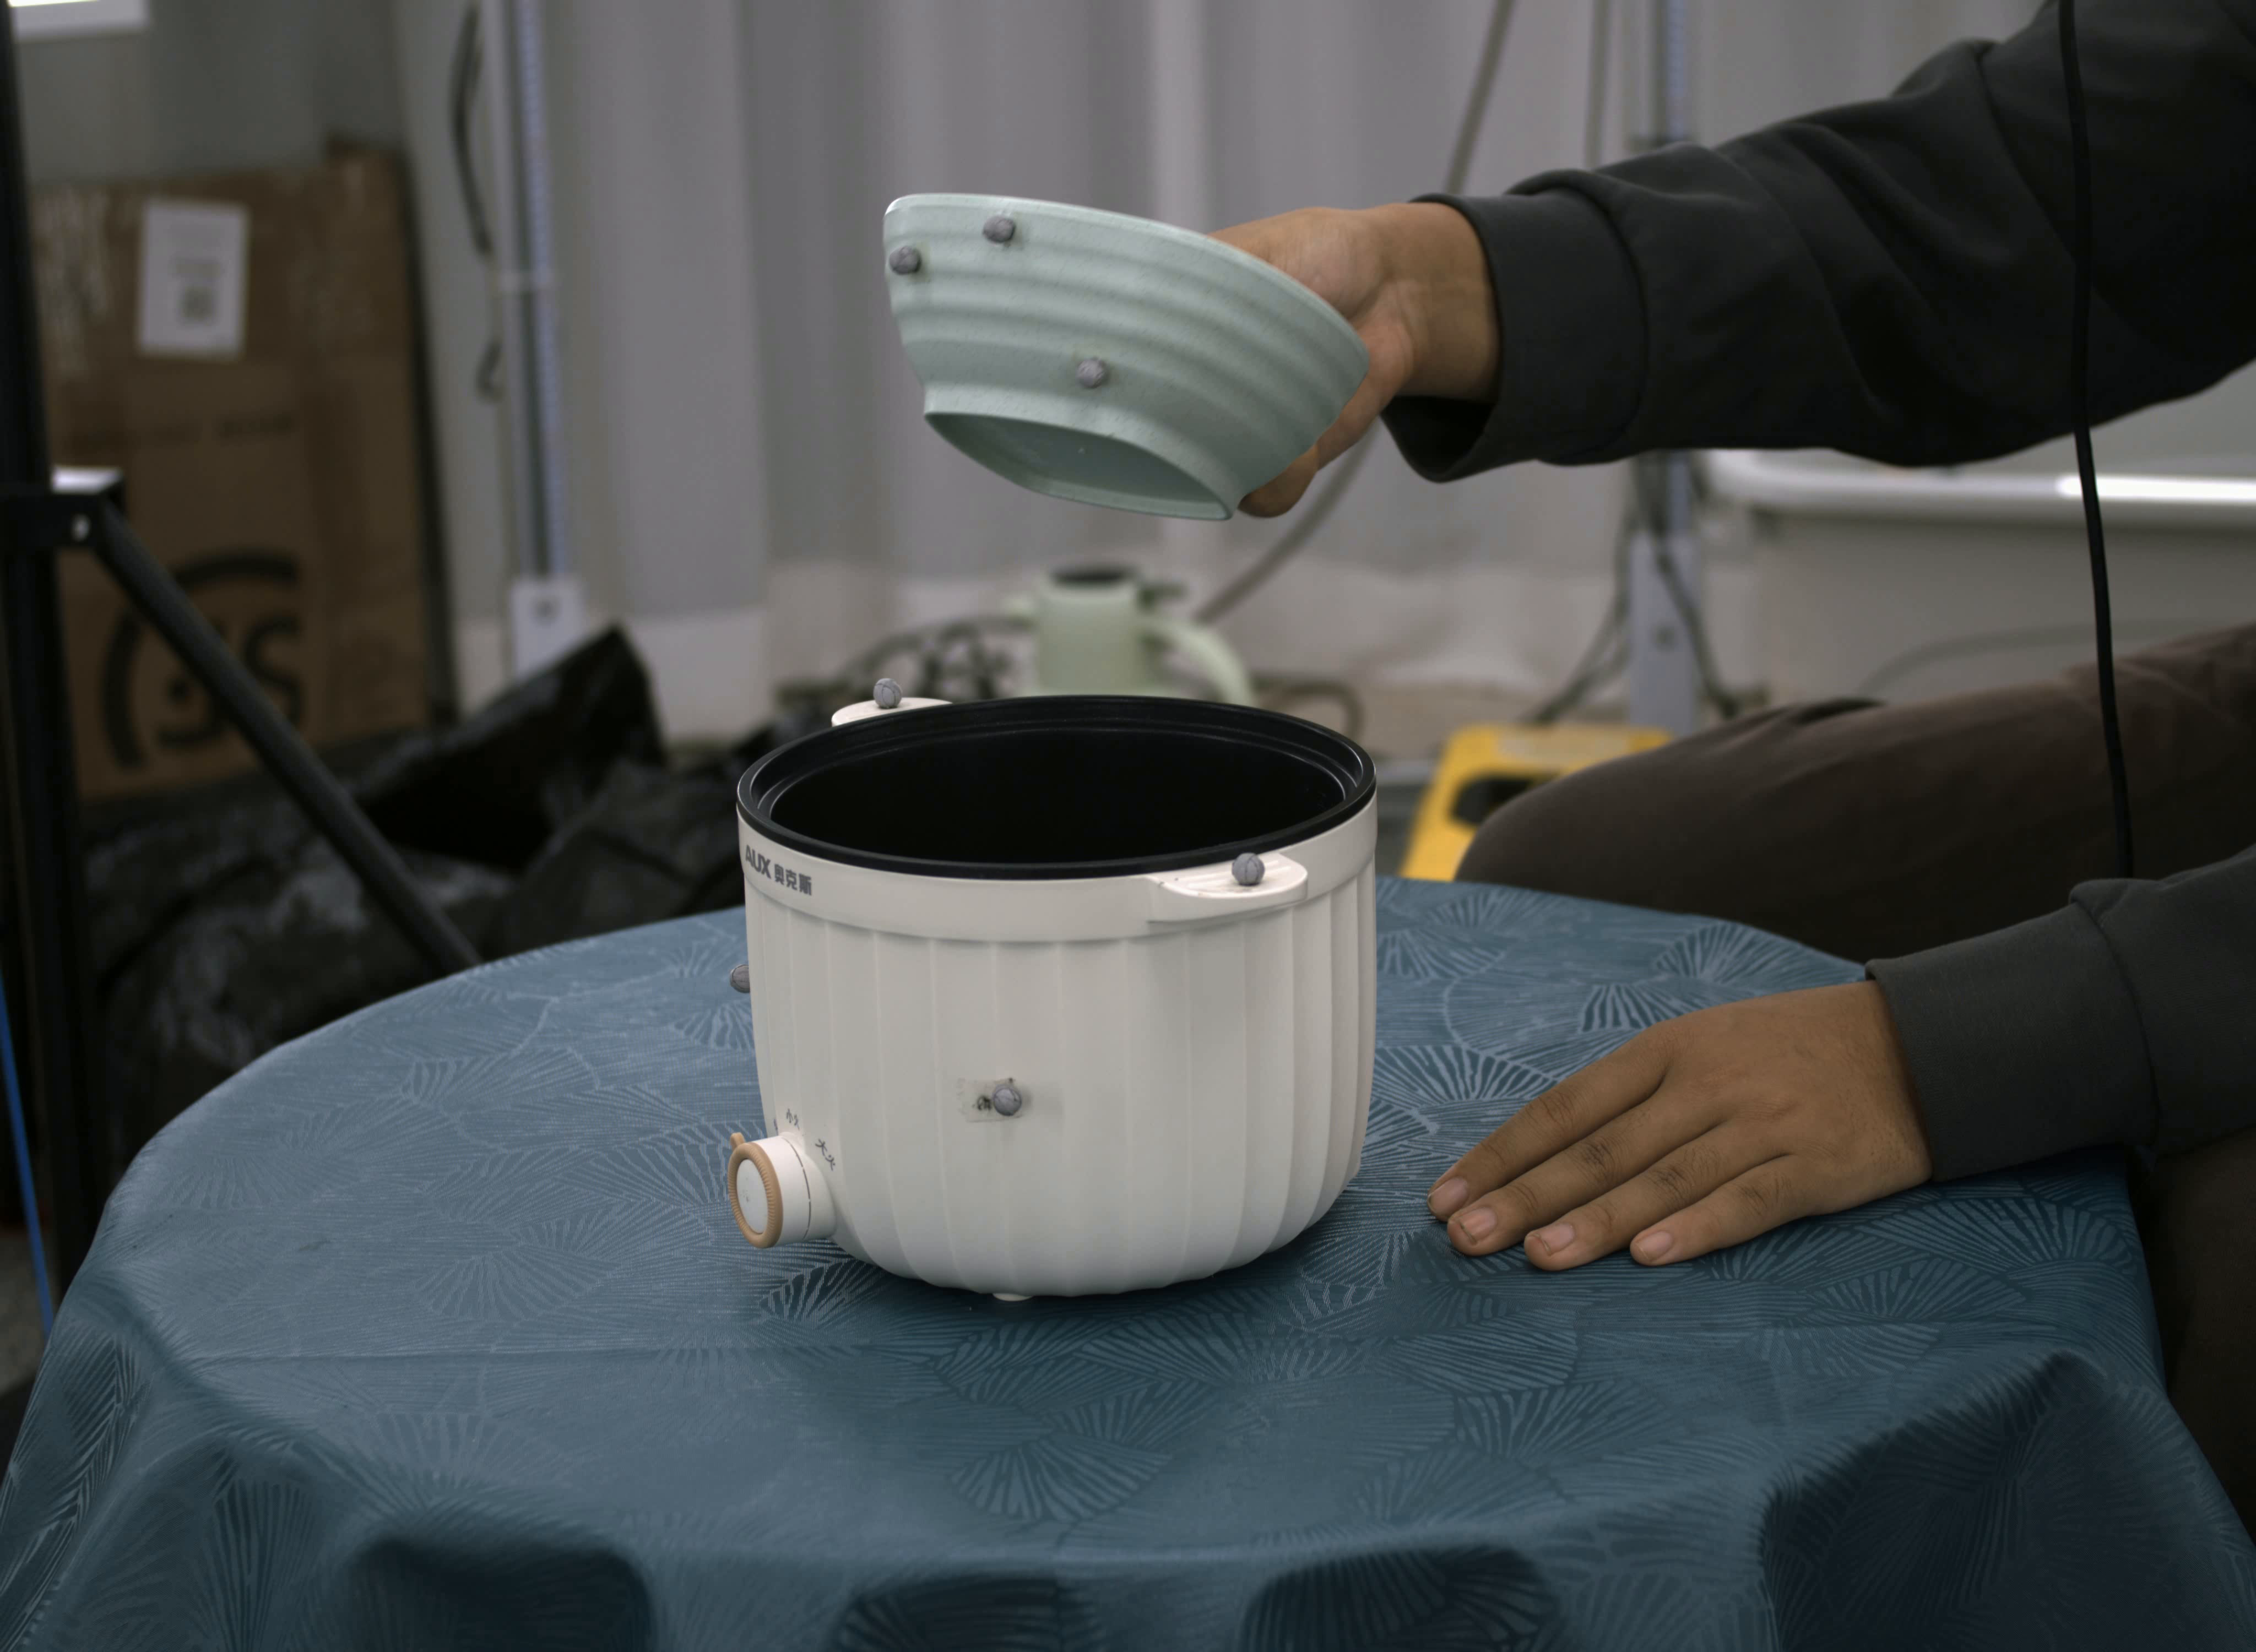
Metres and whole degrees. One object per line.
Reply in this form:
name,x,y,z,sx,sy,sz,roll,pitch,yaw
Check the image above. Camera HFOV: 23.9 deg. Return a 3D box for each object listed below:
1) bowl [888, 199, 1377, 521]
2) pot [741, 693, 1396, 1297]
bowl,-0.005,-0.131,1.557,0.151,0.059,0.151,15,-9,1
pot,-0.019,0.050,1.509,0.186,0.143,0.245,-7,14,-28
